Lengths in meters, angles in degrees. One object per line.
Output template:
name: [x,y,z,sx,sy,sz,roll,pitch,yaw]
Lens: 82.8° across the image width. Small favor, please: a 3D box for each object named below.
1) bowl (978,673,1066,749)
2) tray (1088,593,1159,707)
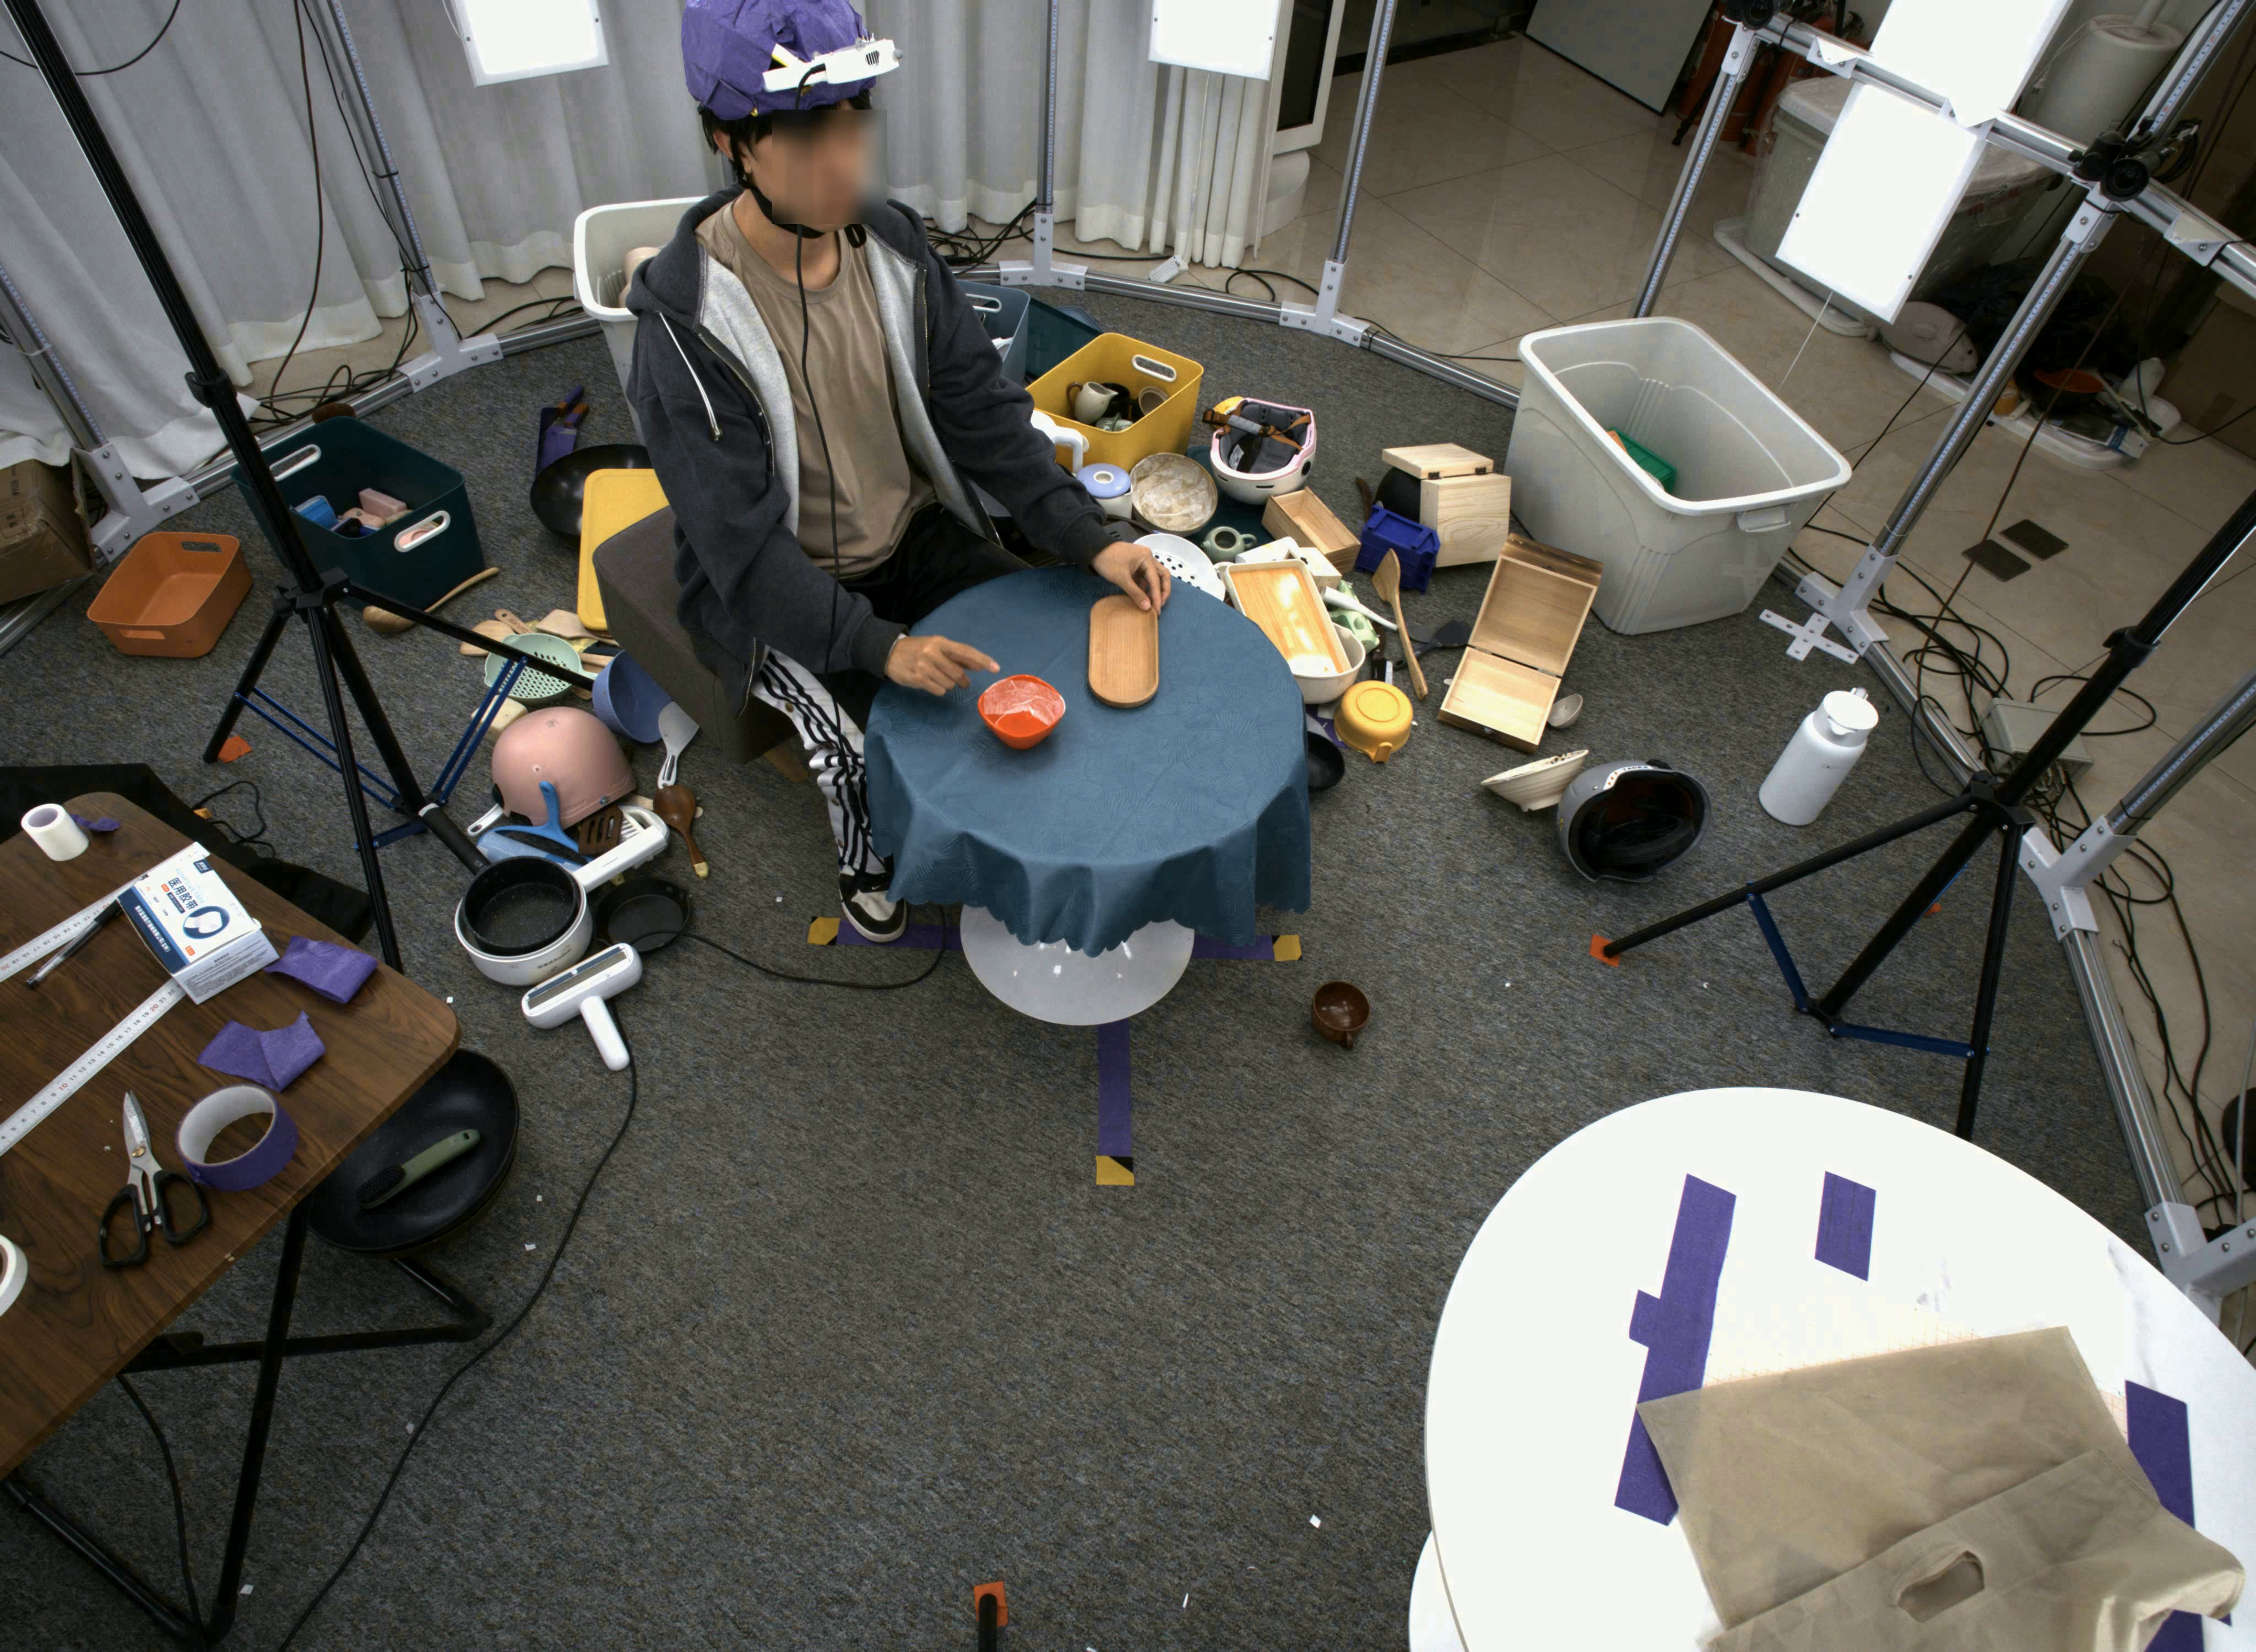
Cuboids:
bowl: [-0.145,-0.150,1.751,0.119,0.050,0.122,2,51,-3]
tray: [-0.007,-0.260,1.882,0.101,0.020,0.237,2,48,-4]
